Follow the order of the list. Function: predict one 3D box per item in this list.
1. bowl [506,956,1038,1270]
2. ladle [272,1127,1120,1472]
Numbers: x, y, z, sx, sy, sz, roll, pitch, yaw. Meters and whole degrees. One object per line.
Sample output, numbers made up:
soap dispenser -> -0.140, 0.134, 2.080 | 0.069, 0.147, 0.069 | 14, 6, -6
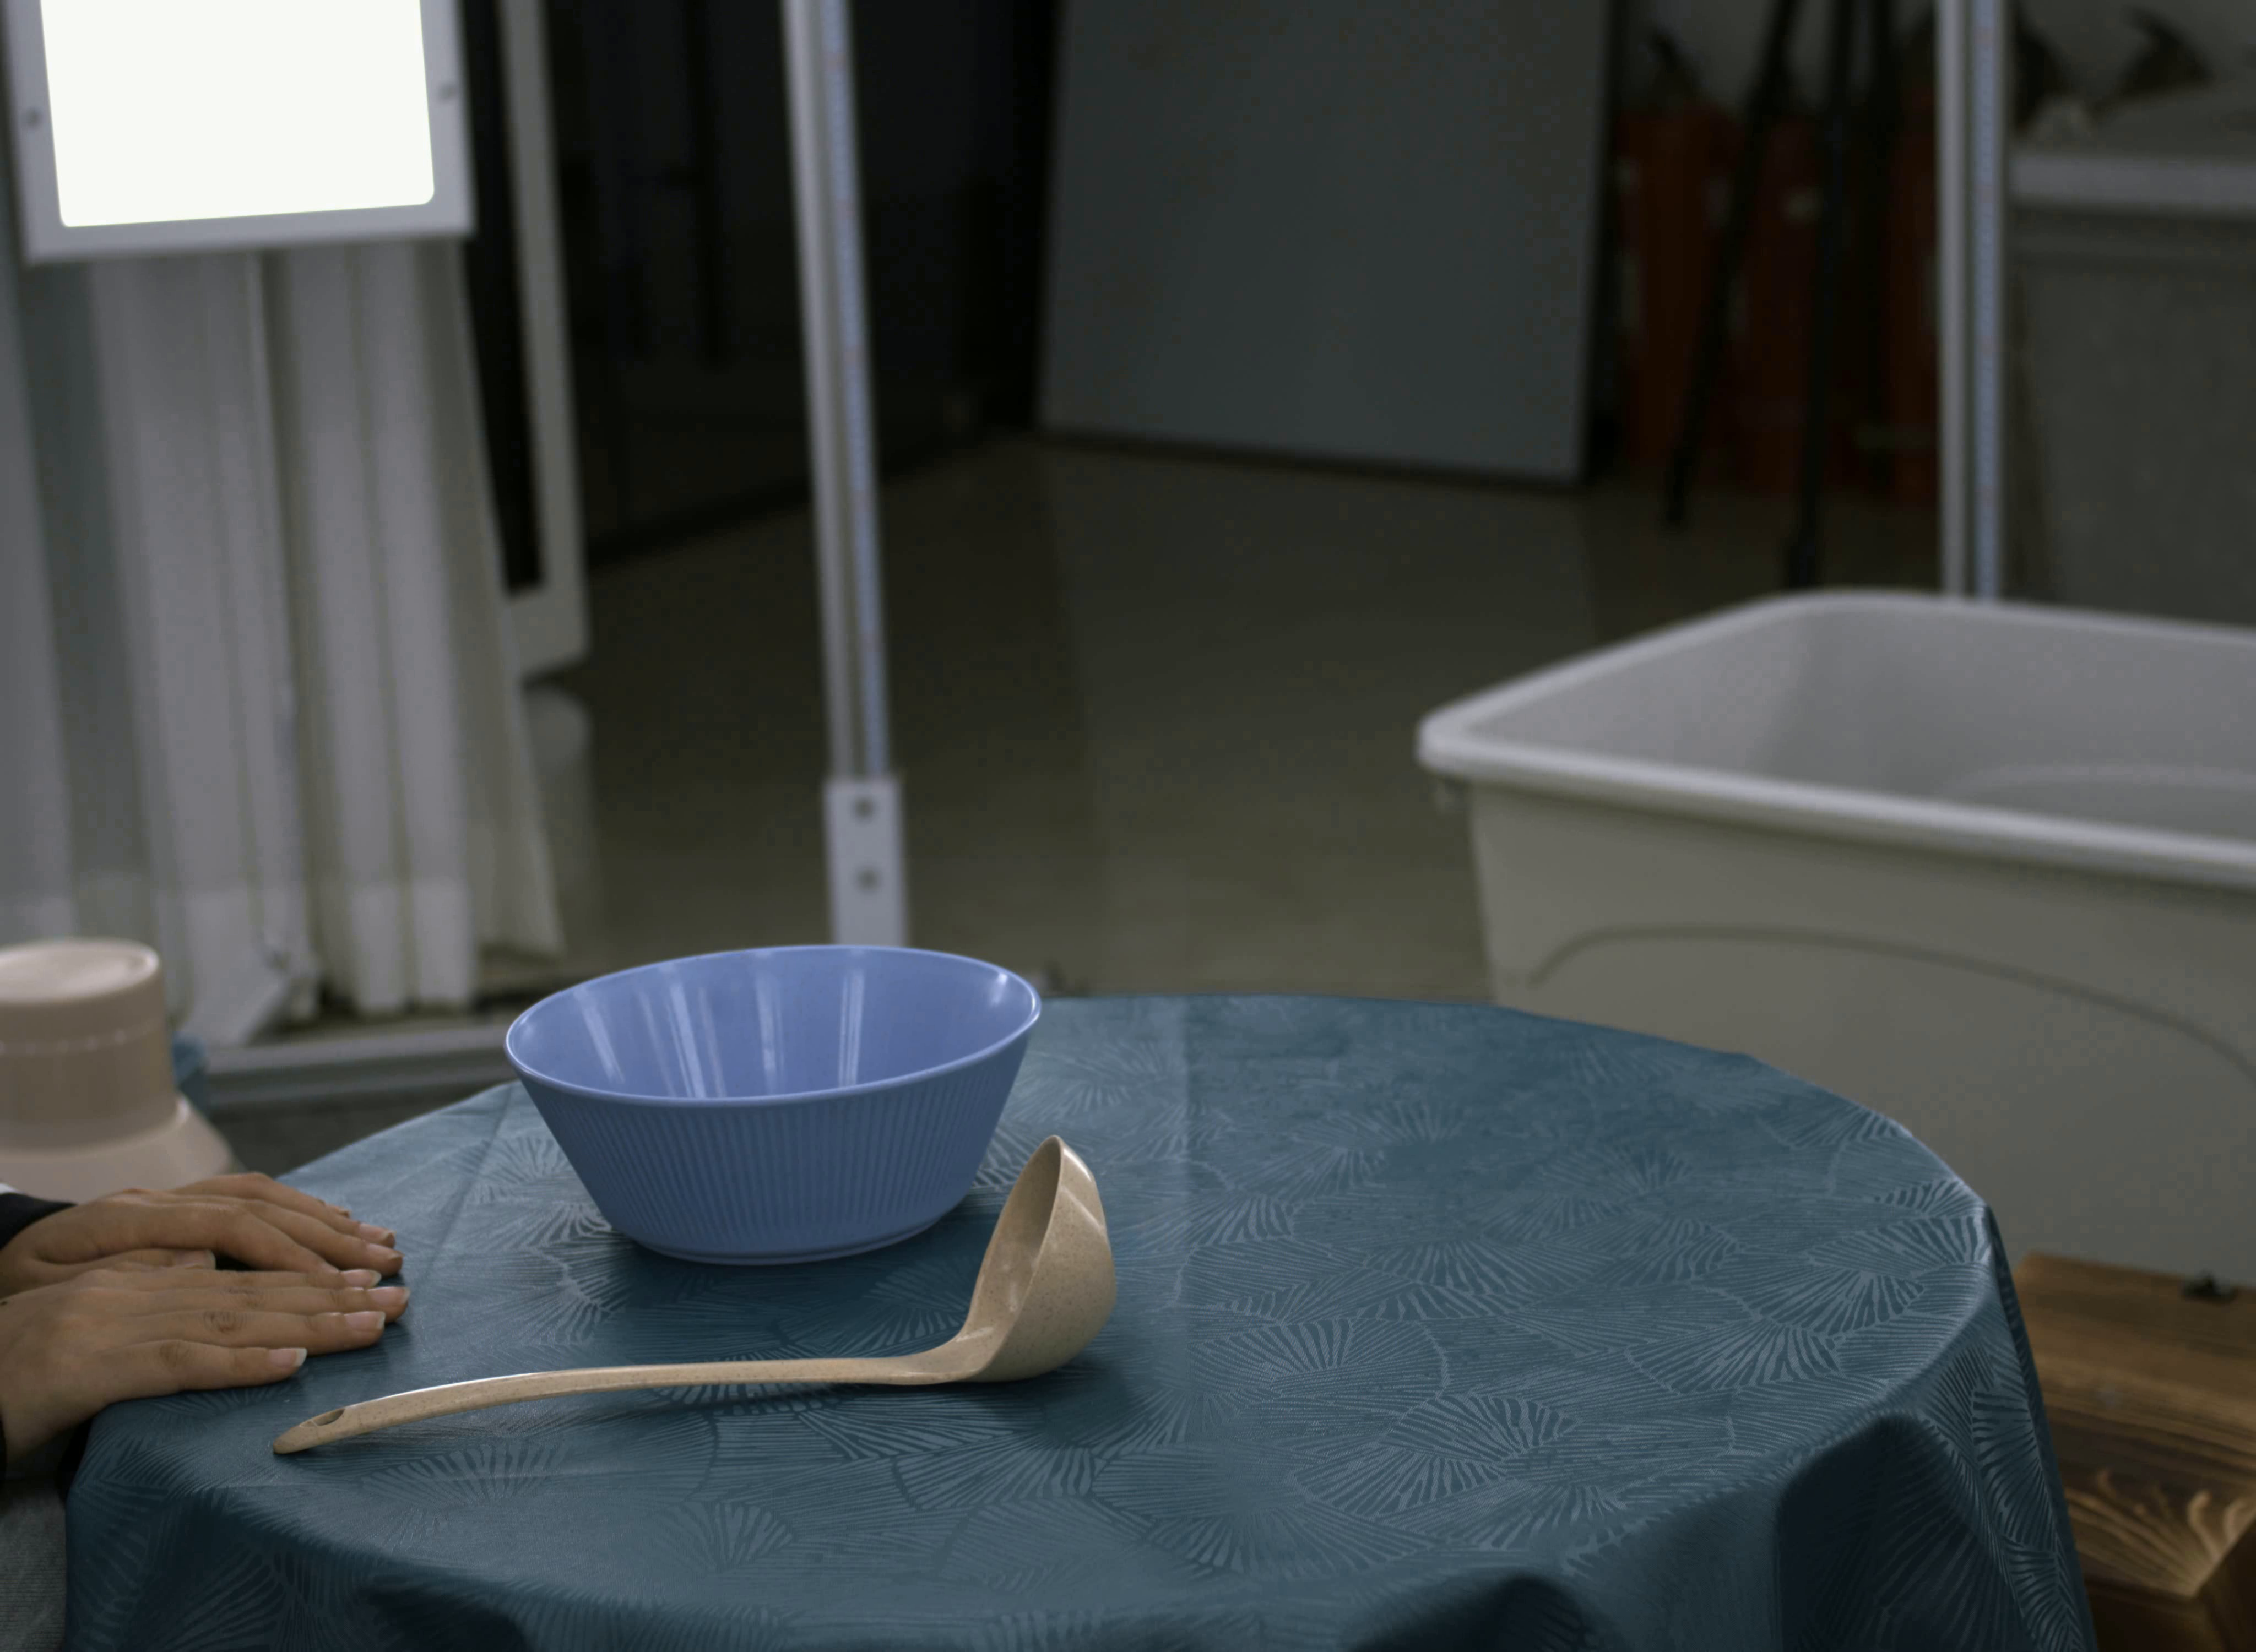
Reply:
bowl -> -0.113, 0.096, 1.761 | 0.174, 0.071, 0.176 | -4, 13, 0
ladle -> -0.128, 0.138, 1.586 | 0.250, 0.073, 0.072 | -6, 14, -8
